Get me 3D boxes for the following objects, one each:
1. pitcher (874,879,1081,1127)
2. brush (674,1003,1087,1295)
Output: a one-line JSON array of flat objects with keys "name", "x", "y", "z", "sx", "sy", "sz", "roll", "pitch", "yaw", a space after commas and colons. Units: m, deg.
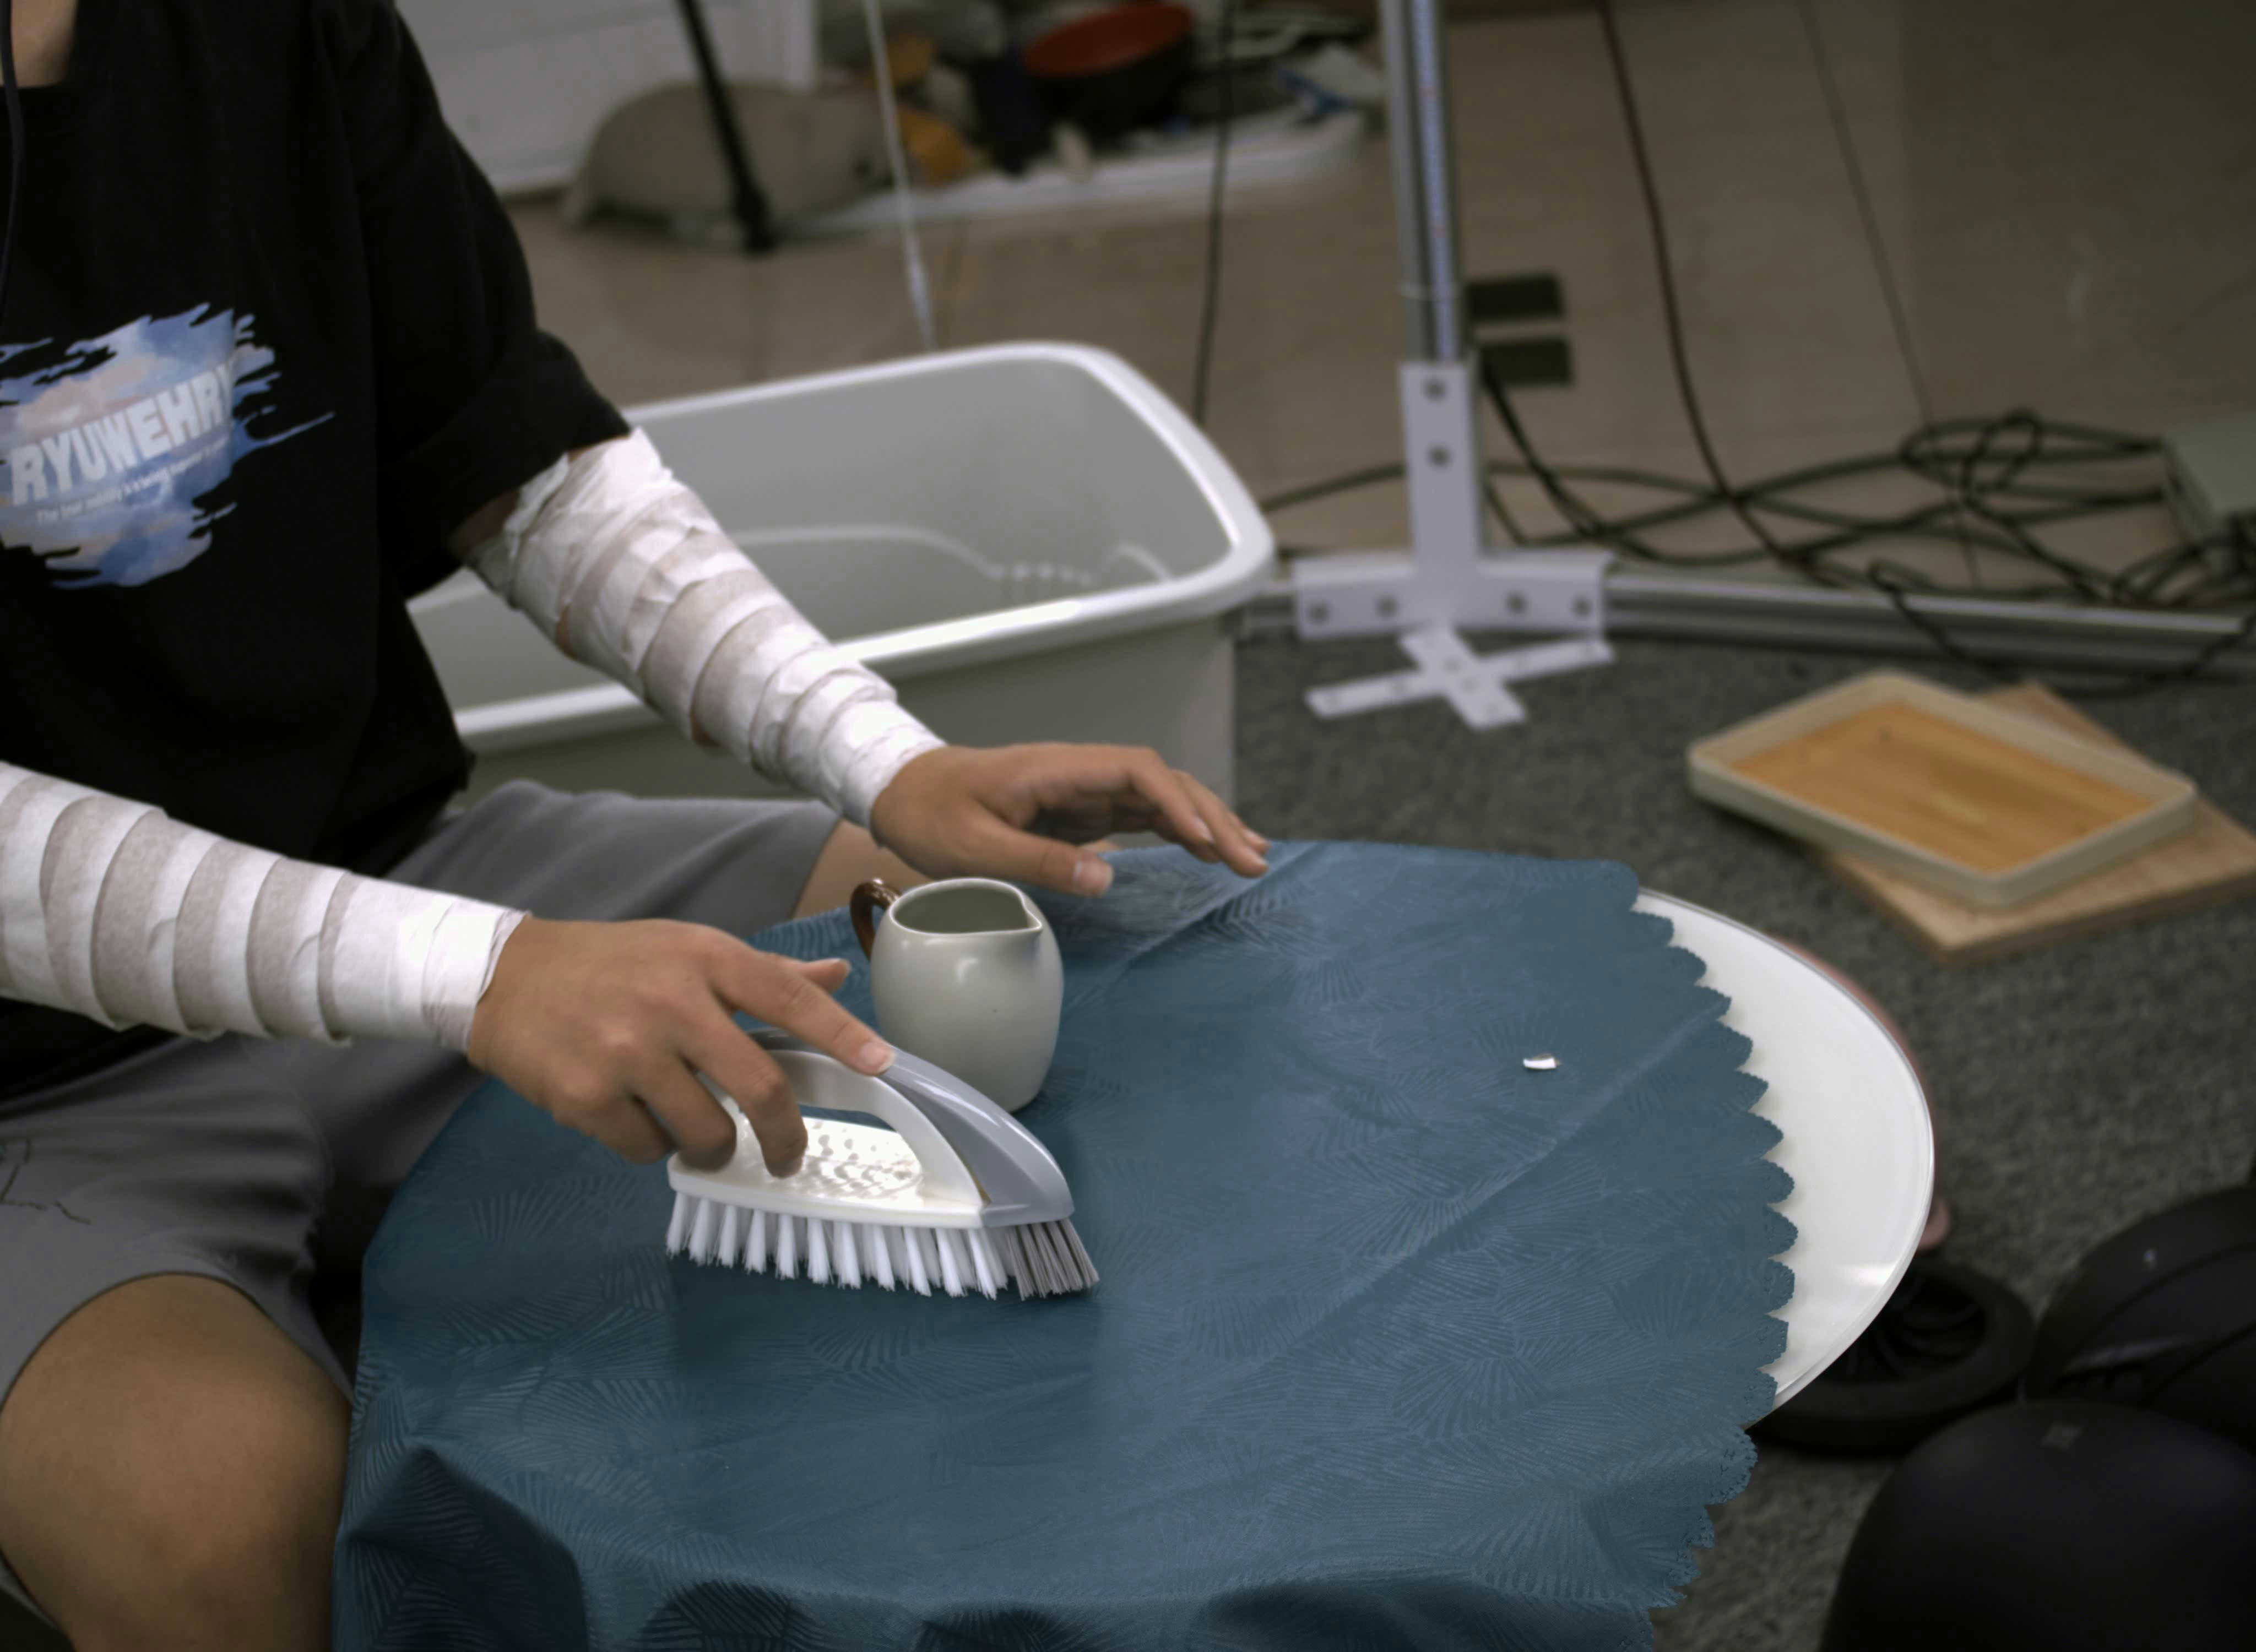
[{"name": "pitcher", "x": -0.061, "y": 0.068, "z": 2.213, "sx": 0.075, "sy": 0.089, "sz": 0.118, "roll": -20, "pitch": 29, "yaw": -34}, {"name": "brush", "x": -0.092, "y": 0.116, "z": 2.106, "sx": 0.174, "sy": 0.096, "sz": 0.061, "roll": 14, "pitch": 33, "yaw": 30}]
